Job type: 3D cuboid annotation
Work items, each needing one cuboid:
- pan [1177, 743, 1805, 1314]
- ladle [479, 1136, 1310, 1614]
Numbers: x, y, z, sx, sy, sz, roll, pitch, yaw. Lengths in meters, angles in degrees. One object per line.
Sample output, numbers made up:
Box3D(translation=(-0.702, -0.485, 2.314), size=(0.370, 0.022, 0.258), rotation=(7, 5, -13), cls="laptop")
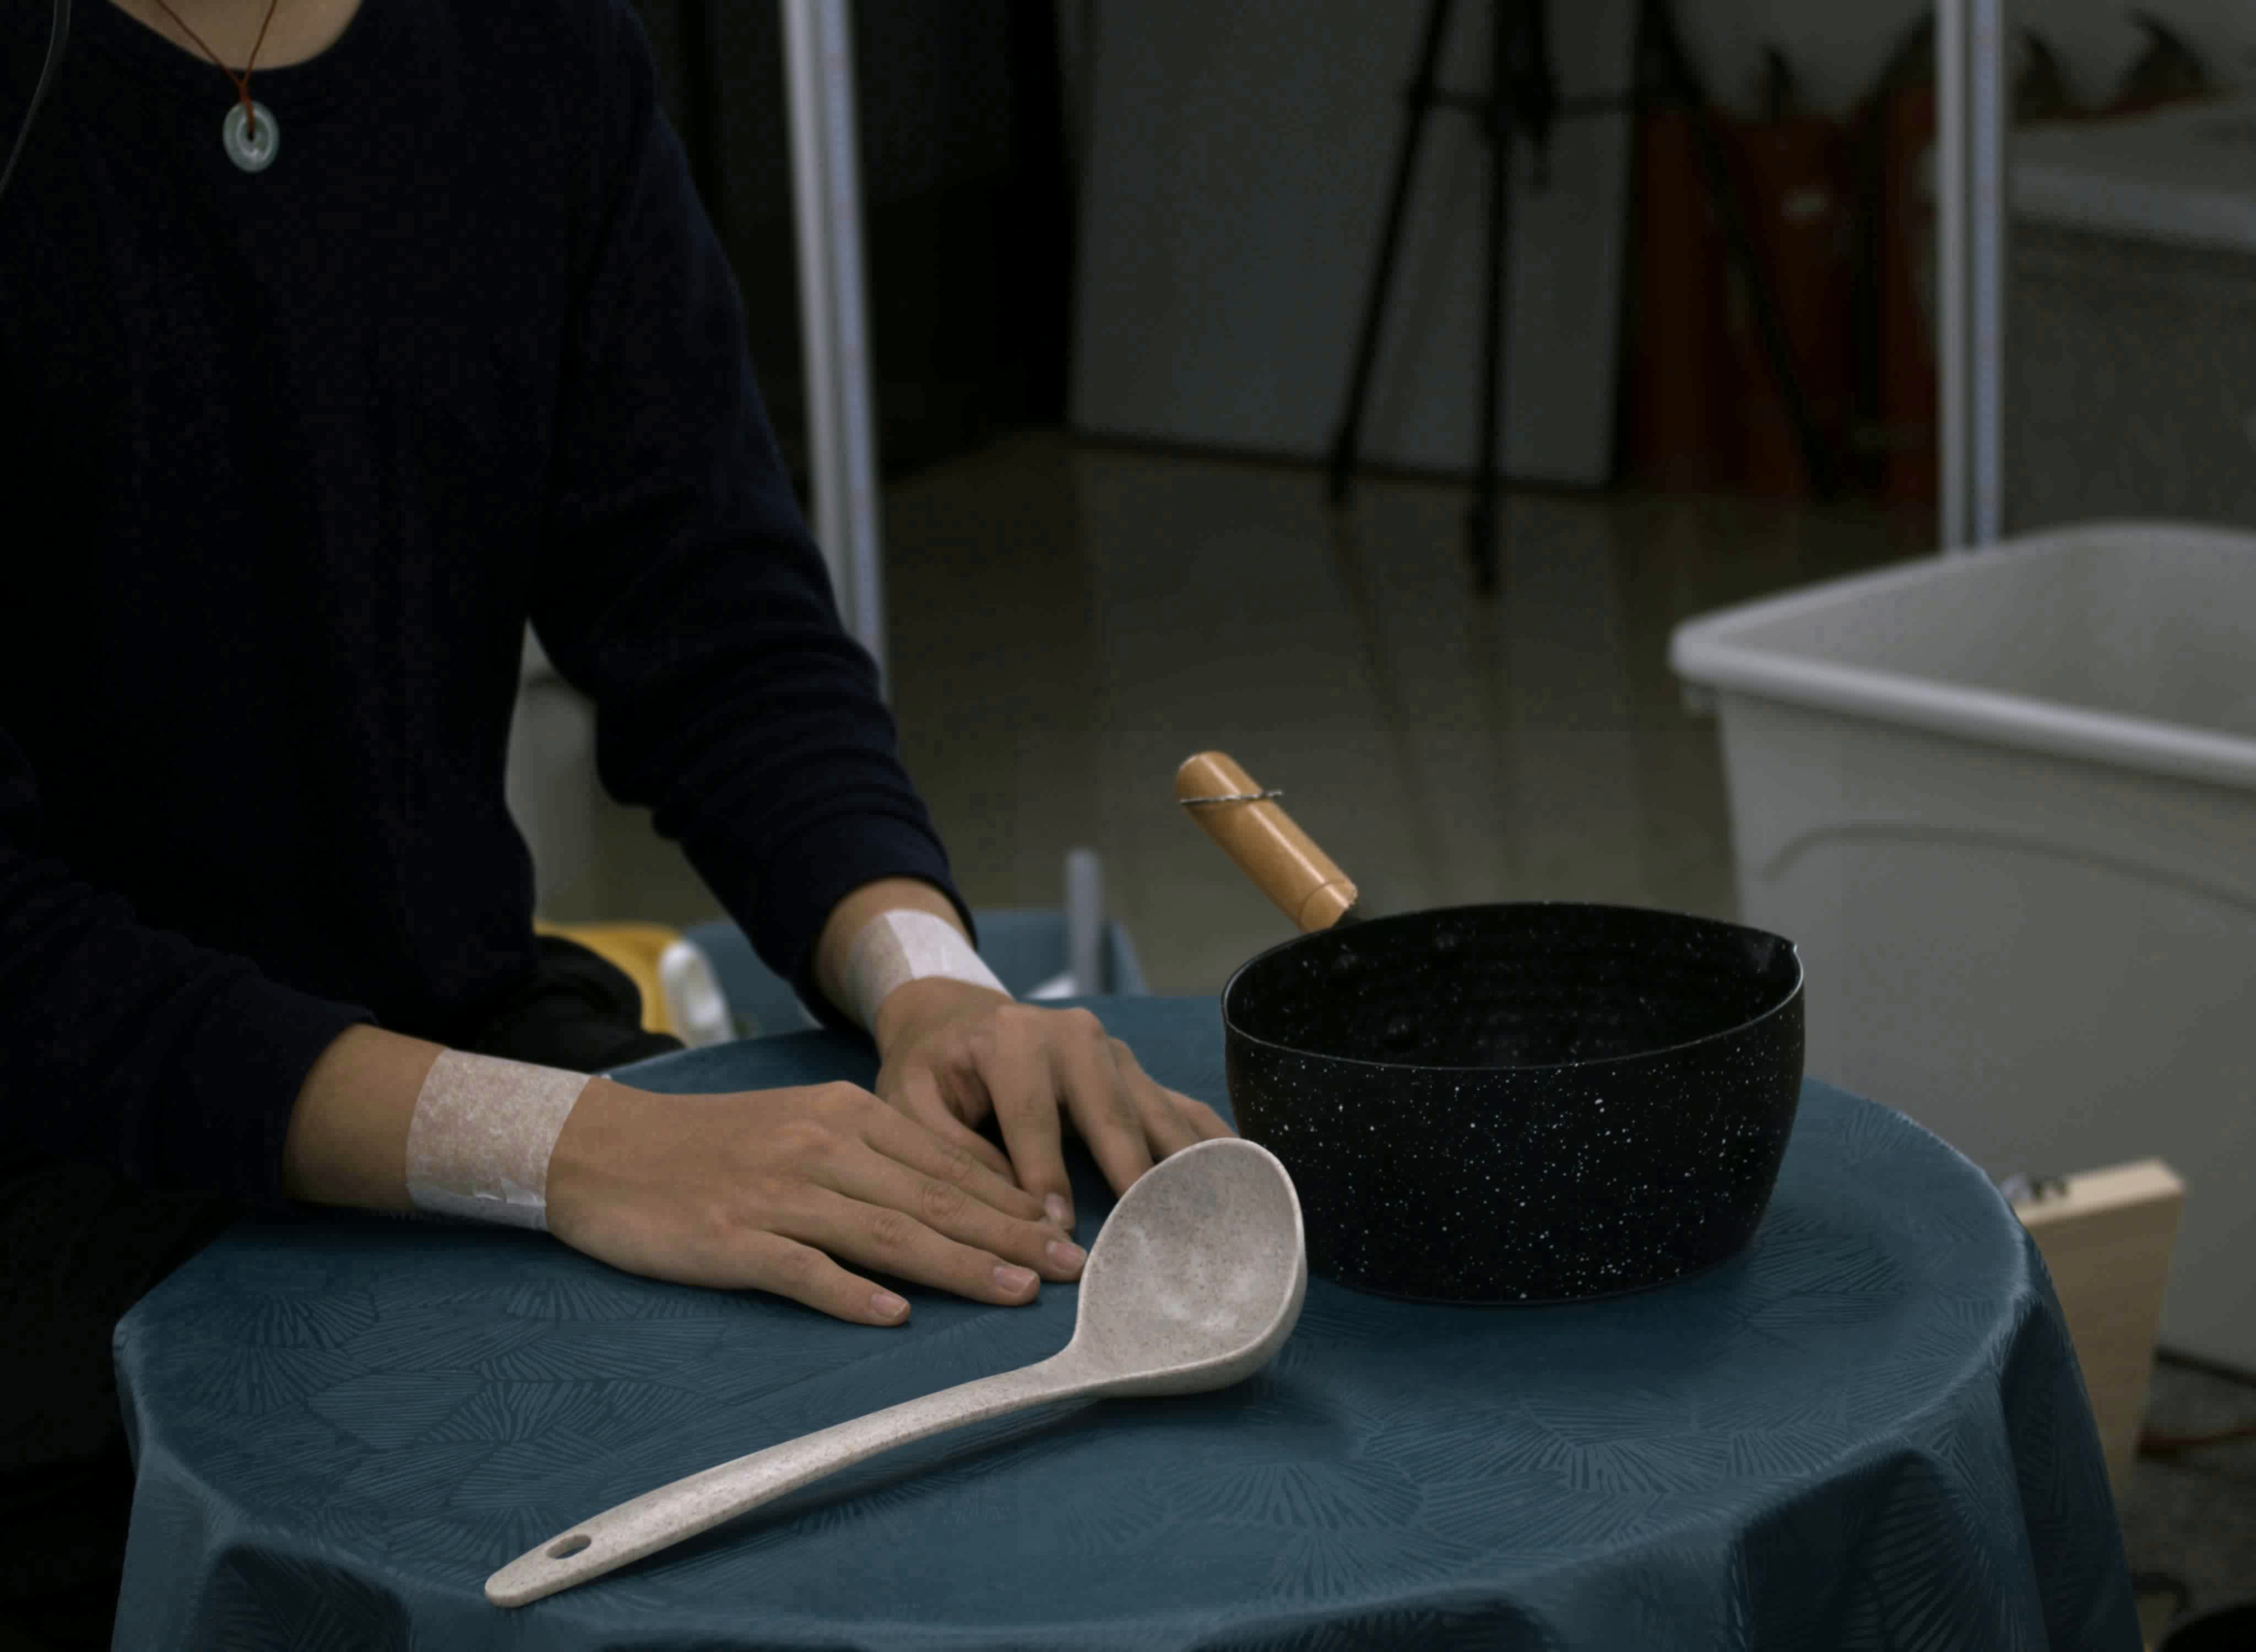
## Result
Box3D(translation=(0.091, 0.060, 1.763), size=(0.203, 0.109, 0.346), rotation=(-11, 16, -21), cls="pan")
Box3D(translation=(-0.065, 0.152, 1.524), size=(0.269, 0.070, 0.090), rotation=(-14, 23, -34), cls="ladle")
